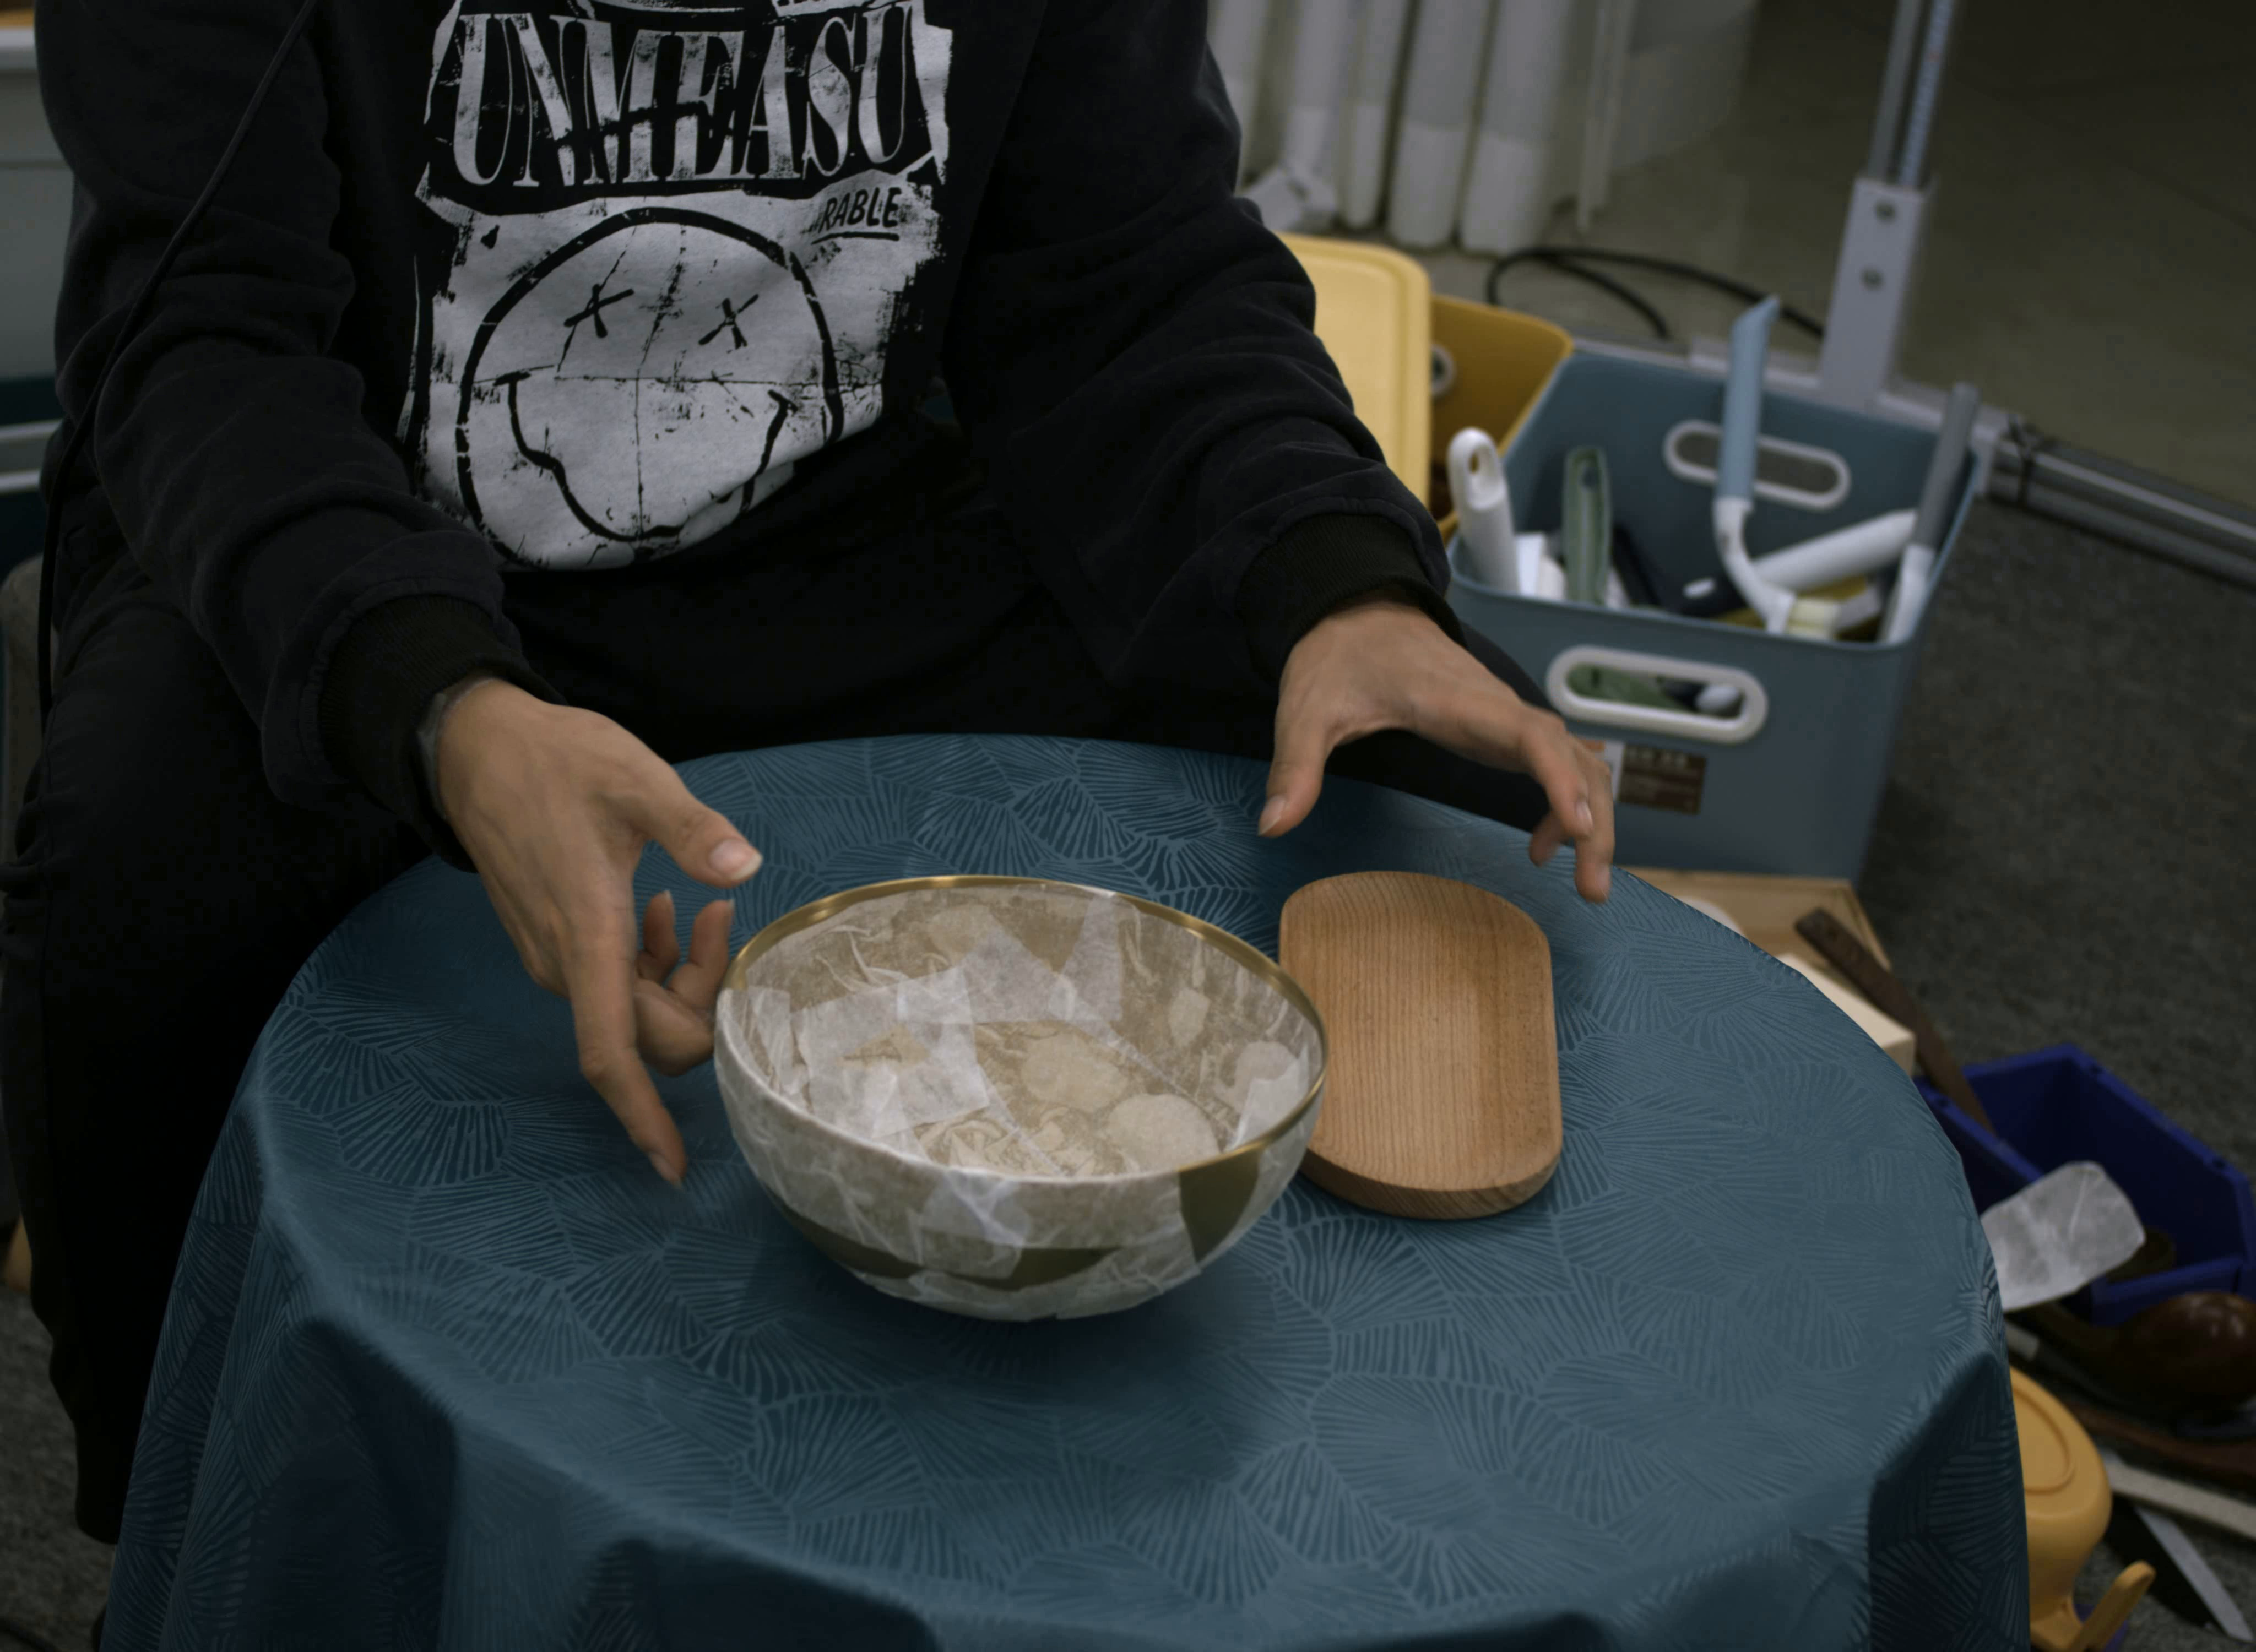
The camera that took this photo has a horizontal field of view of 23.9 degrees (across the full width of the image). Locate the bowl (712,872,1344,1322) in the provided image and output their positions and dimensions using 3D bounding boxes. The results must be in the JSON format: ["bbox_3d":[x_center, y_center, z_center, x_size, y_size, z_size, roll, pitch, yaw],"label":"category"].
[{"bbox_3d":[-0.034,0.100,1.736,0.214,0.094,0.216,4,27,-2],"label":"bowl"}]

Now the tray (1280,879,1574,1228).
[{"bbox_3d":[0.104,0.079,1.896,0.101,0.020,0.232,4,28,-1],"label":"tray"}]
